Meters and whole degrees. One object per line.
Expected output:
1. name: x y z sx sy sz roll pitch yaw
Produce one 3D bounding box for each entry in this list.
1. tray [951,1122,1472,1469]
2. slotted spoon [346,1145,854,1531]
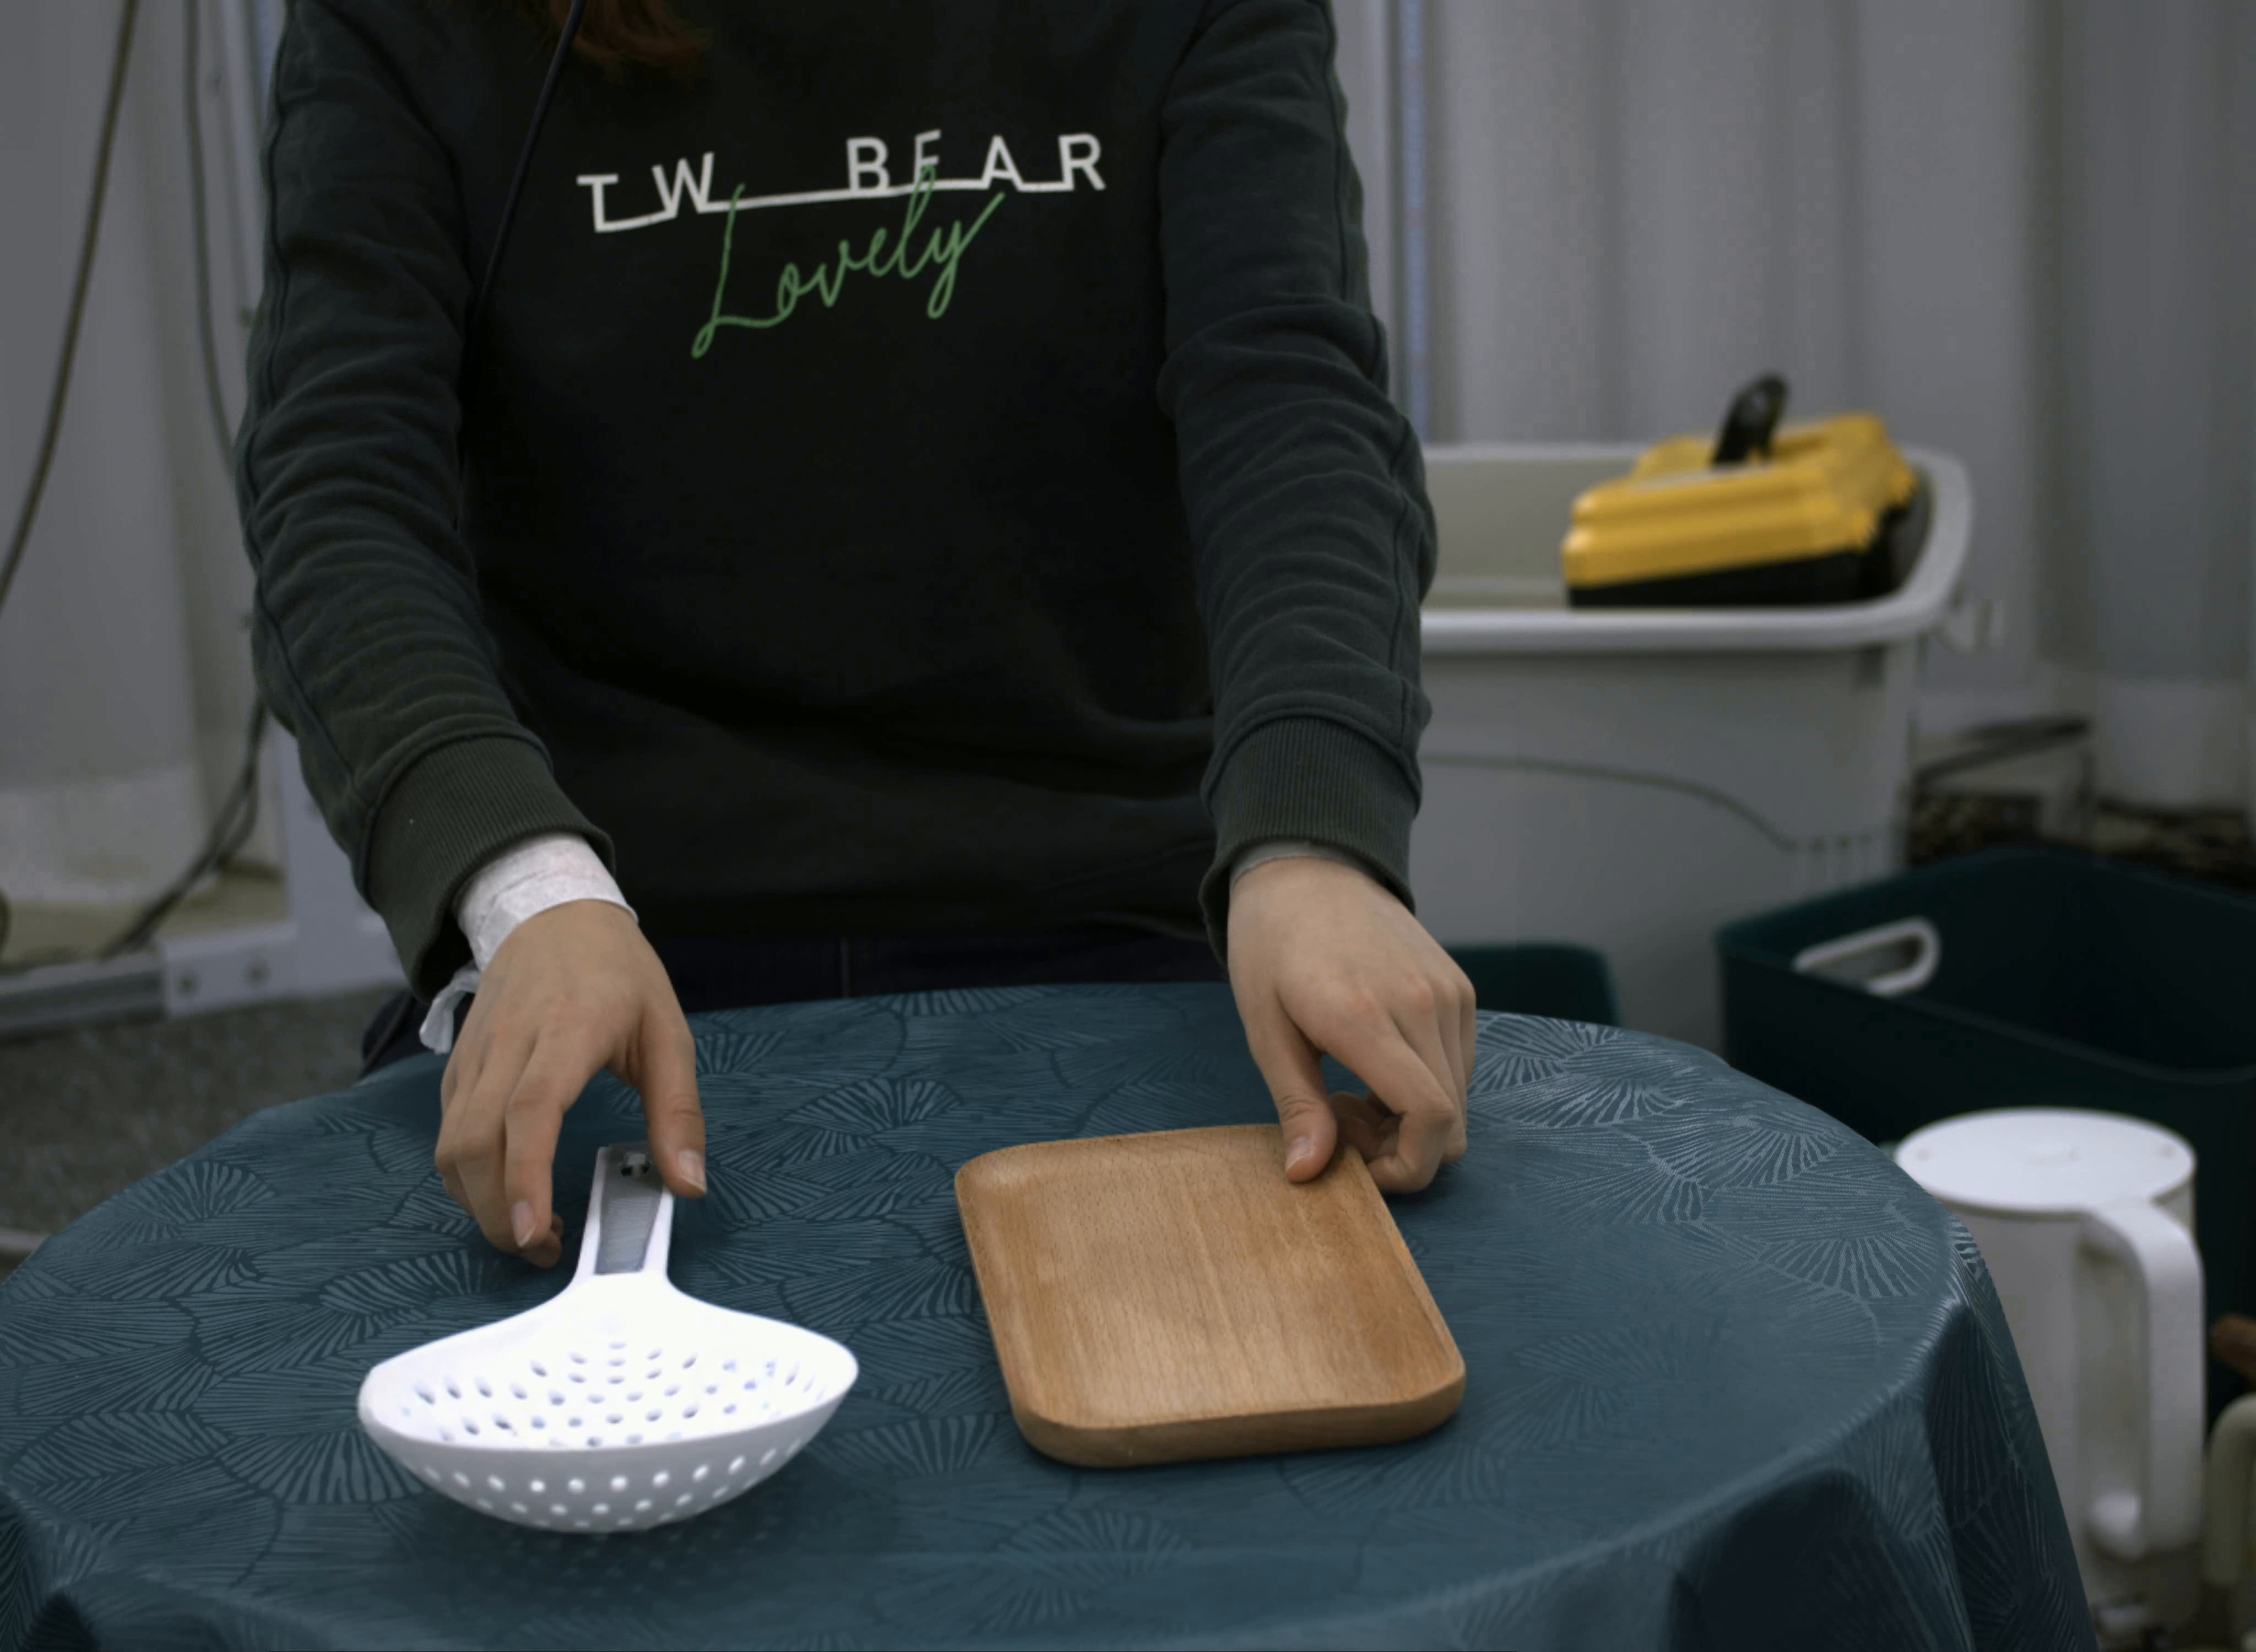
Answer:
1. tray: 0.020 0.135 1.604 0.130 0.023 0.252 -2 14 -6
2. slotted spoon: -0.146 0.137 1.570 0.135 0.045 0.352 -1 14 -3
